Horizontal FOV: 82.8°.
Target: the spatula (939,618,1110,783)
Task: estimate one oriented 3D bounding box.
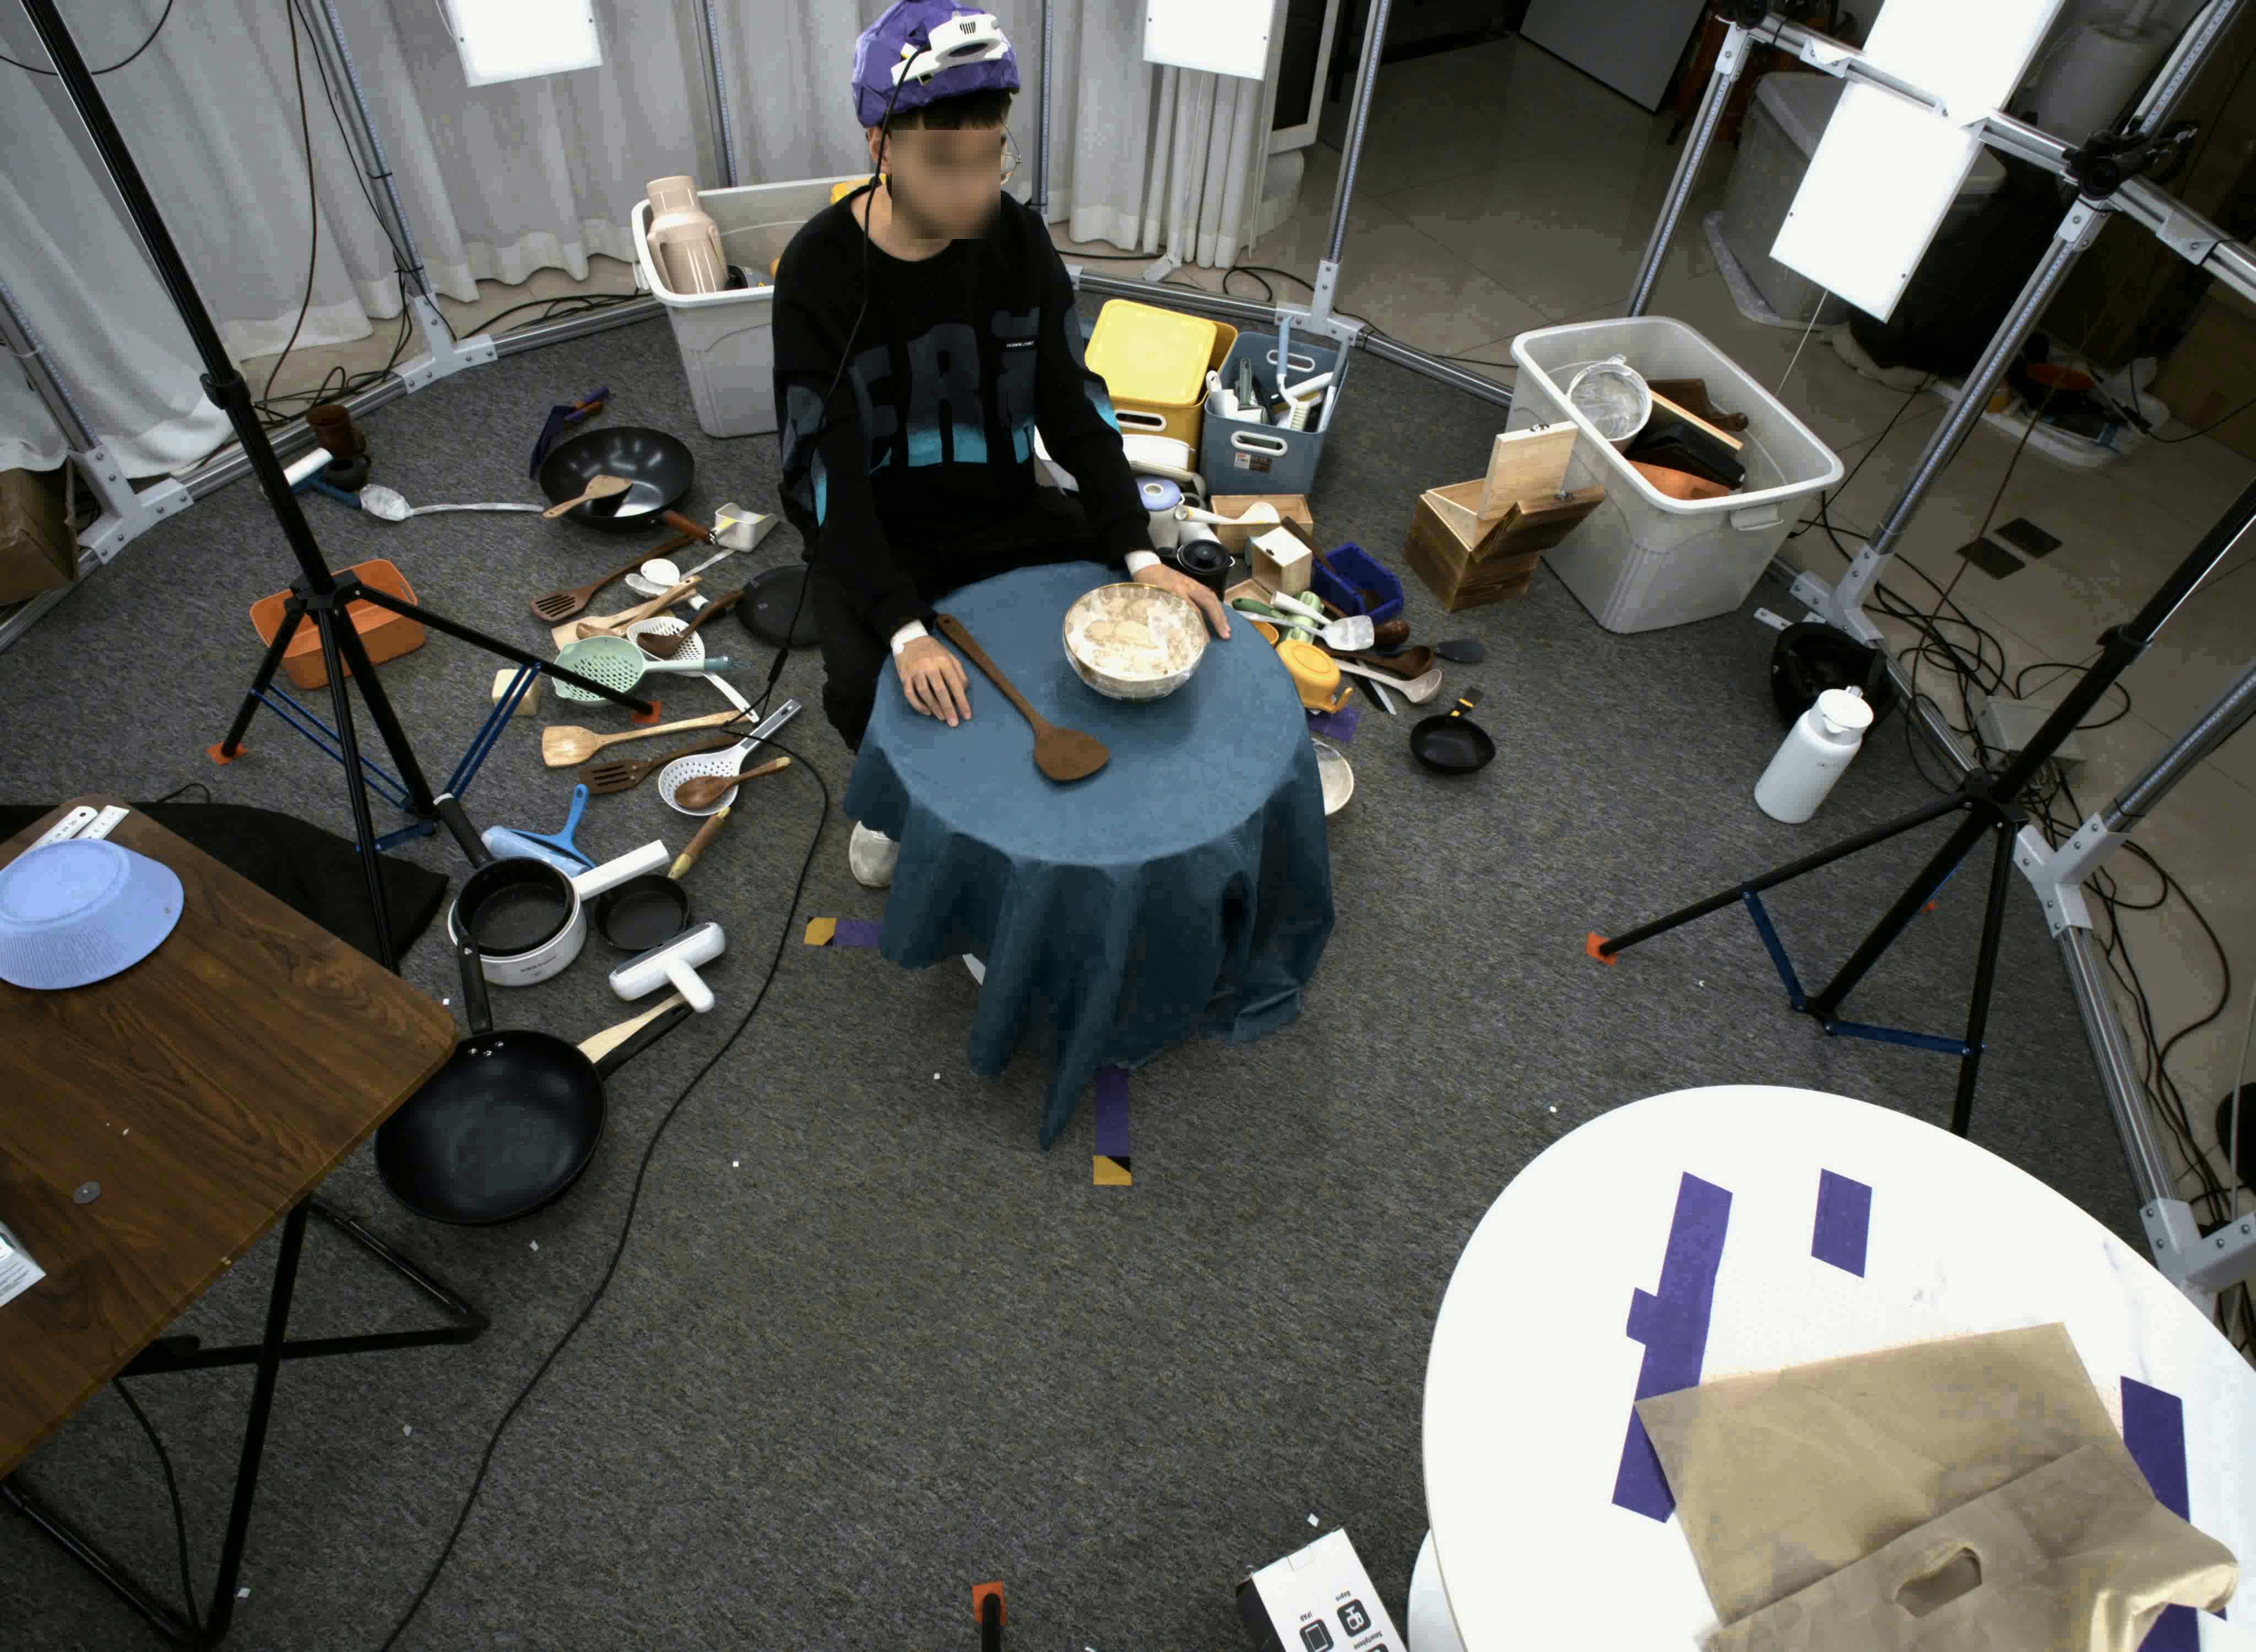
[{"bbox_3d":[-0.165,-0.190,1.830,0.096,0.015,0.393,-26,55,-25],"label":"spatula"}]

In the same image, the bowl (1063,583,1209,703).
[{"bbox_3d":[0.010,-0.248,1.840,0.214,0.092,0.220,1,49,-1],"label":"bowl"}]
